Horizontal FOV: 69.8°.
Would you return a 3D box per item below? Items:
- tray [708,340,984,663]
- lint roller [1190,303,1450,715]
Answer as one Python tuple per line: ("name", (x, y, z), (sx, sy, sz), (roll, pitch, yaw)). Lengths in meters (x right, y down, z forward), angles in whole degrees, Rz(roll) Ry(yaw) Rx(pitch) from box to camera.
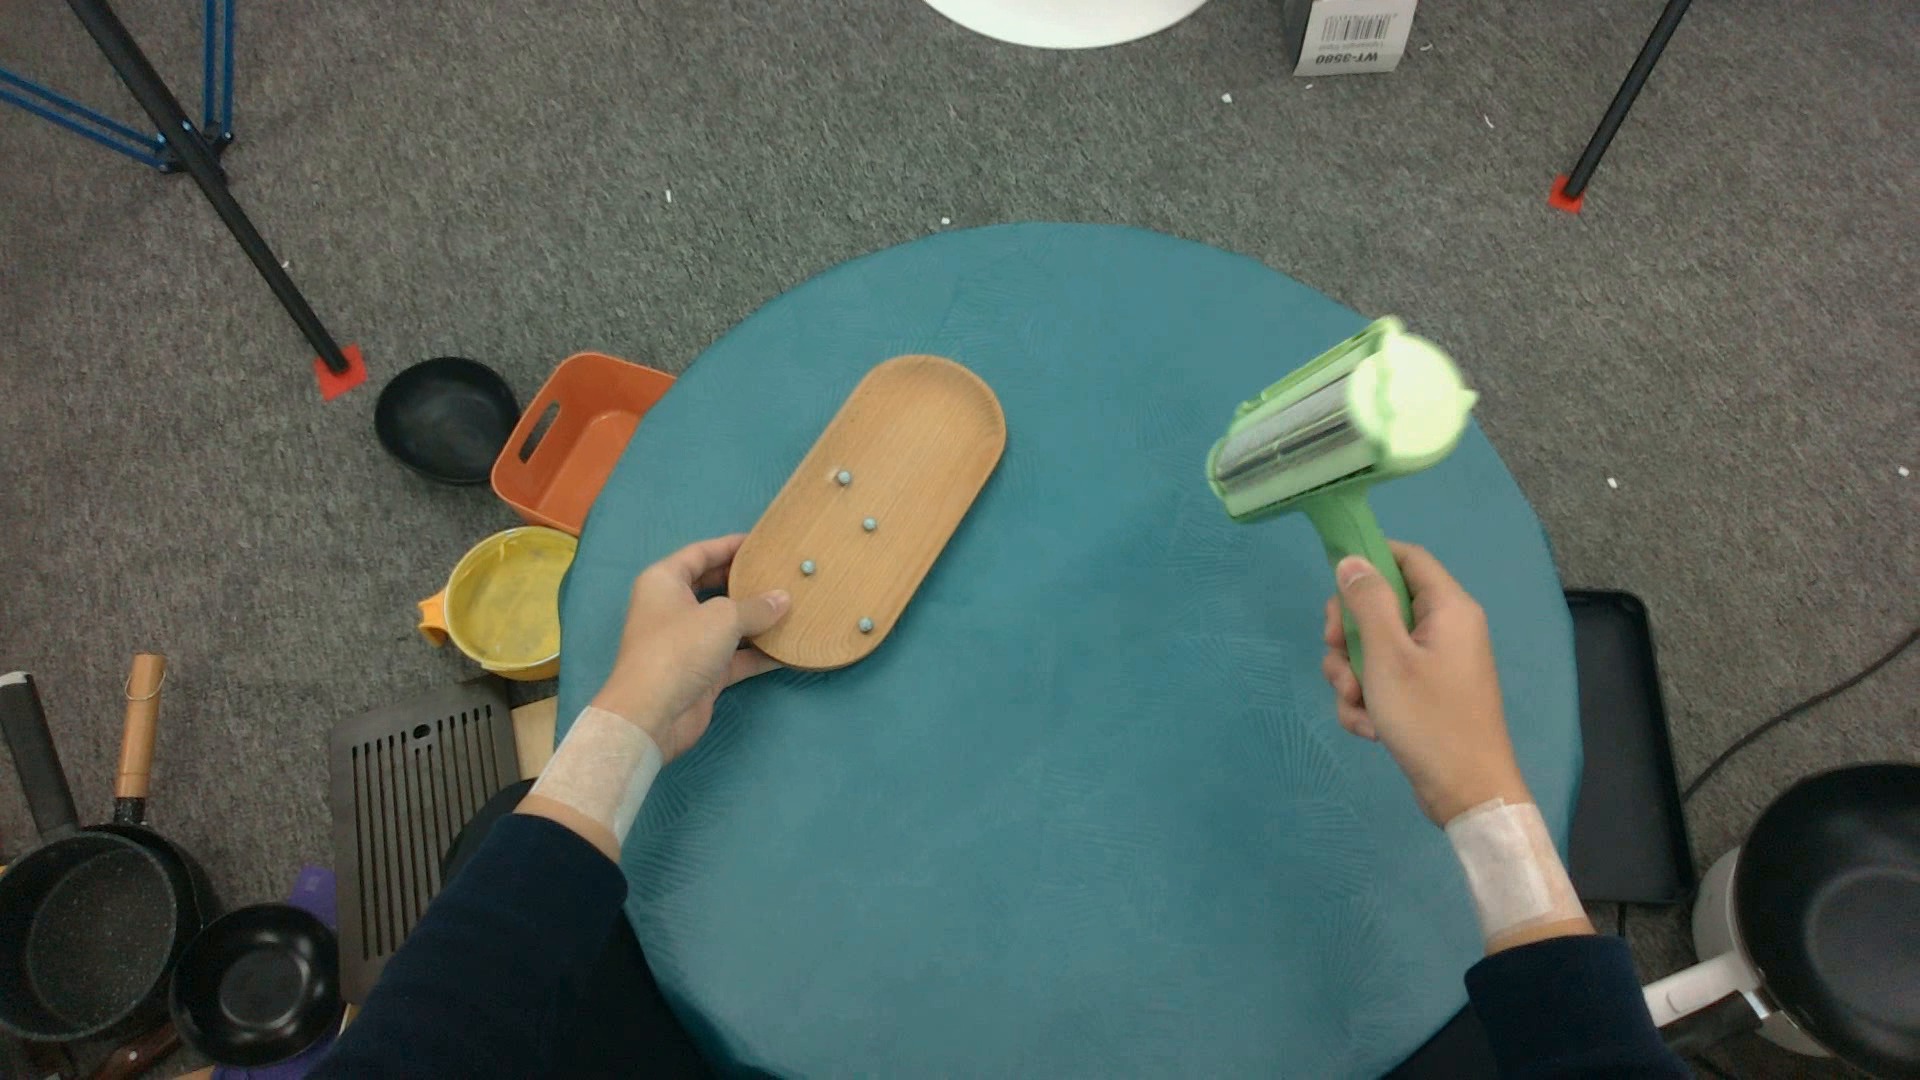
("tray", (-0.065, -0.027, 0.827), (0.101, 0.020, 0.232), (30, 62, 1))
("lint roller", (0.198, -0.011, 0.673), (0.082, 0.198, 0.183), (-28, 89, -10))
